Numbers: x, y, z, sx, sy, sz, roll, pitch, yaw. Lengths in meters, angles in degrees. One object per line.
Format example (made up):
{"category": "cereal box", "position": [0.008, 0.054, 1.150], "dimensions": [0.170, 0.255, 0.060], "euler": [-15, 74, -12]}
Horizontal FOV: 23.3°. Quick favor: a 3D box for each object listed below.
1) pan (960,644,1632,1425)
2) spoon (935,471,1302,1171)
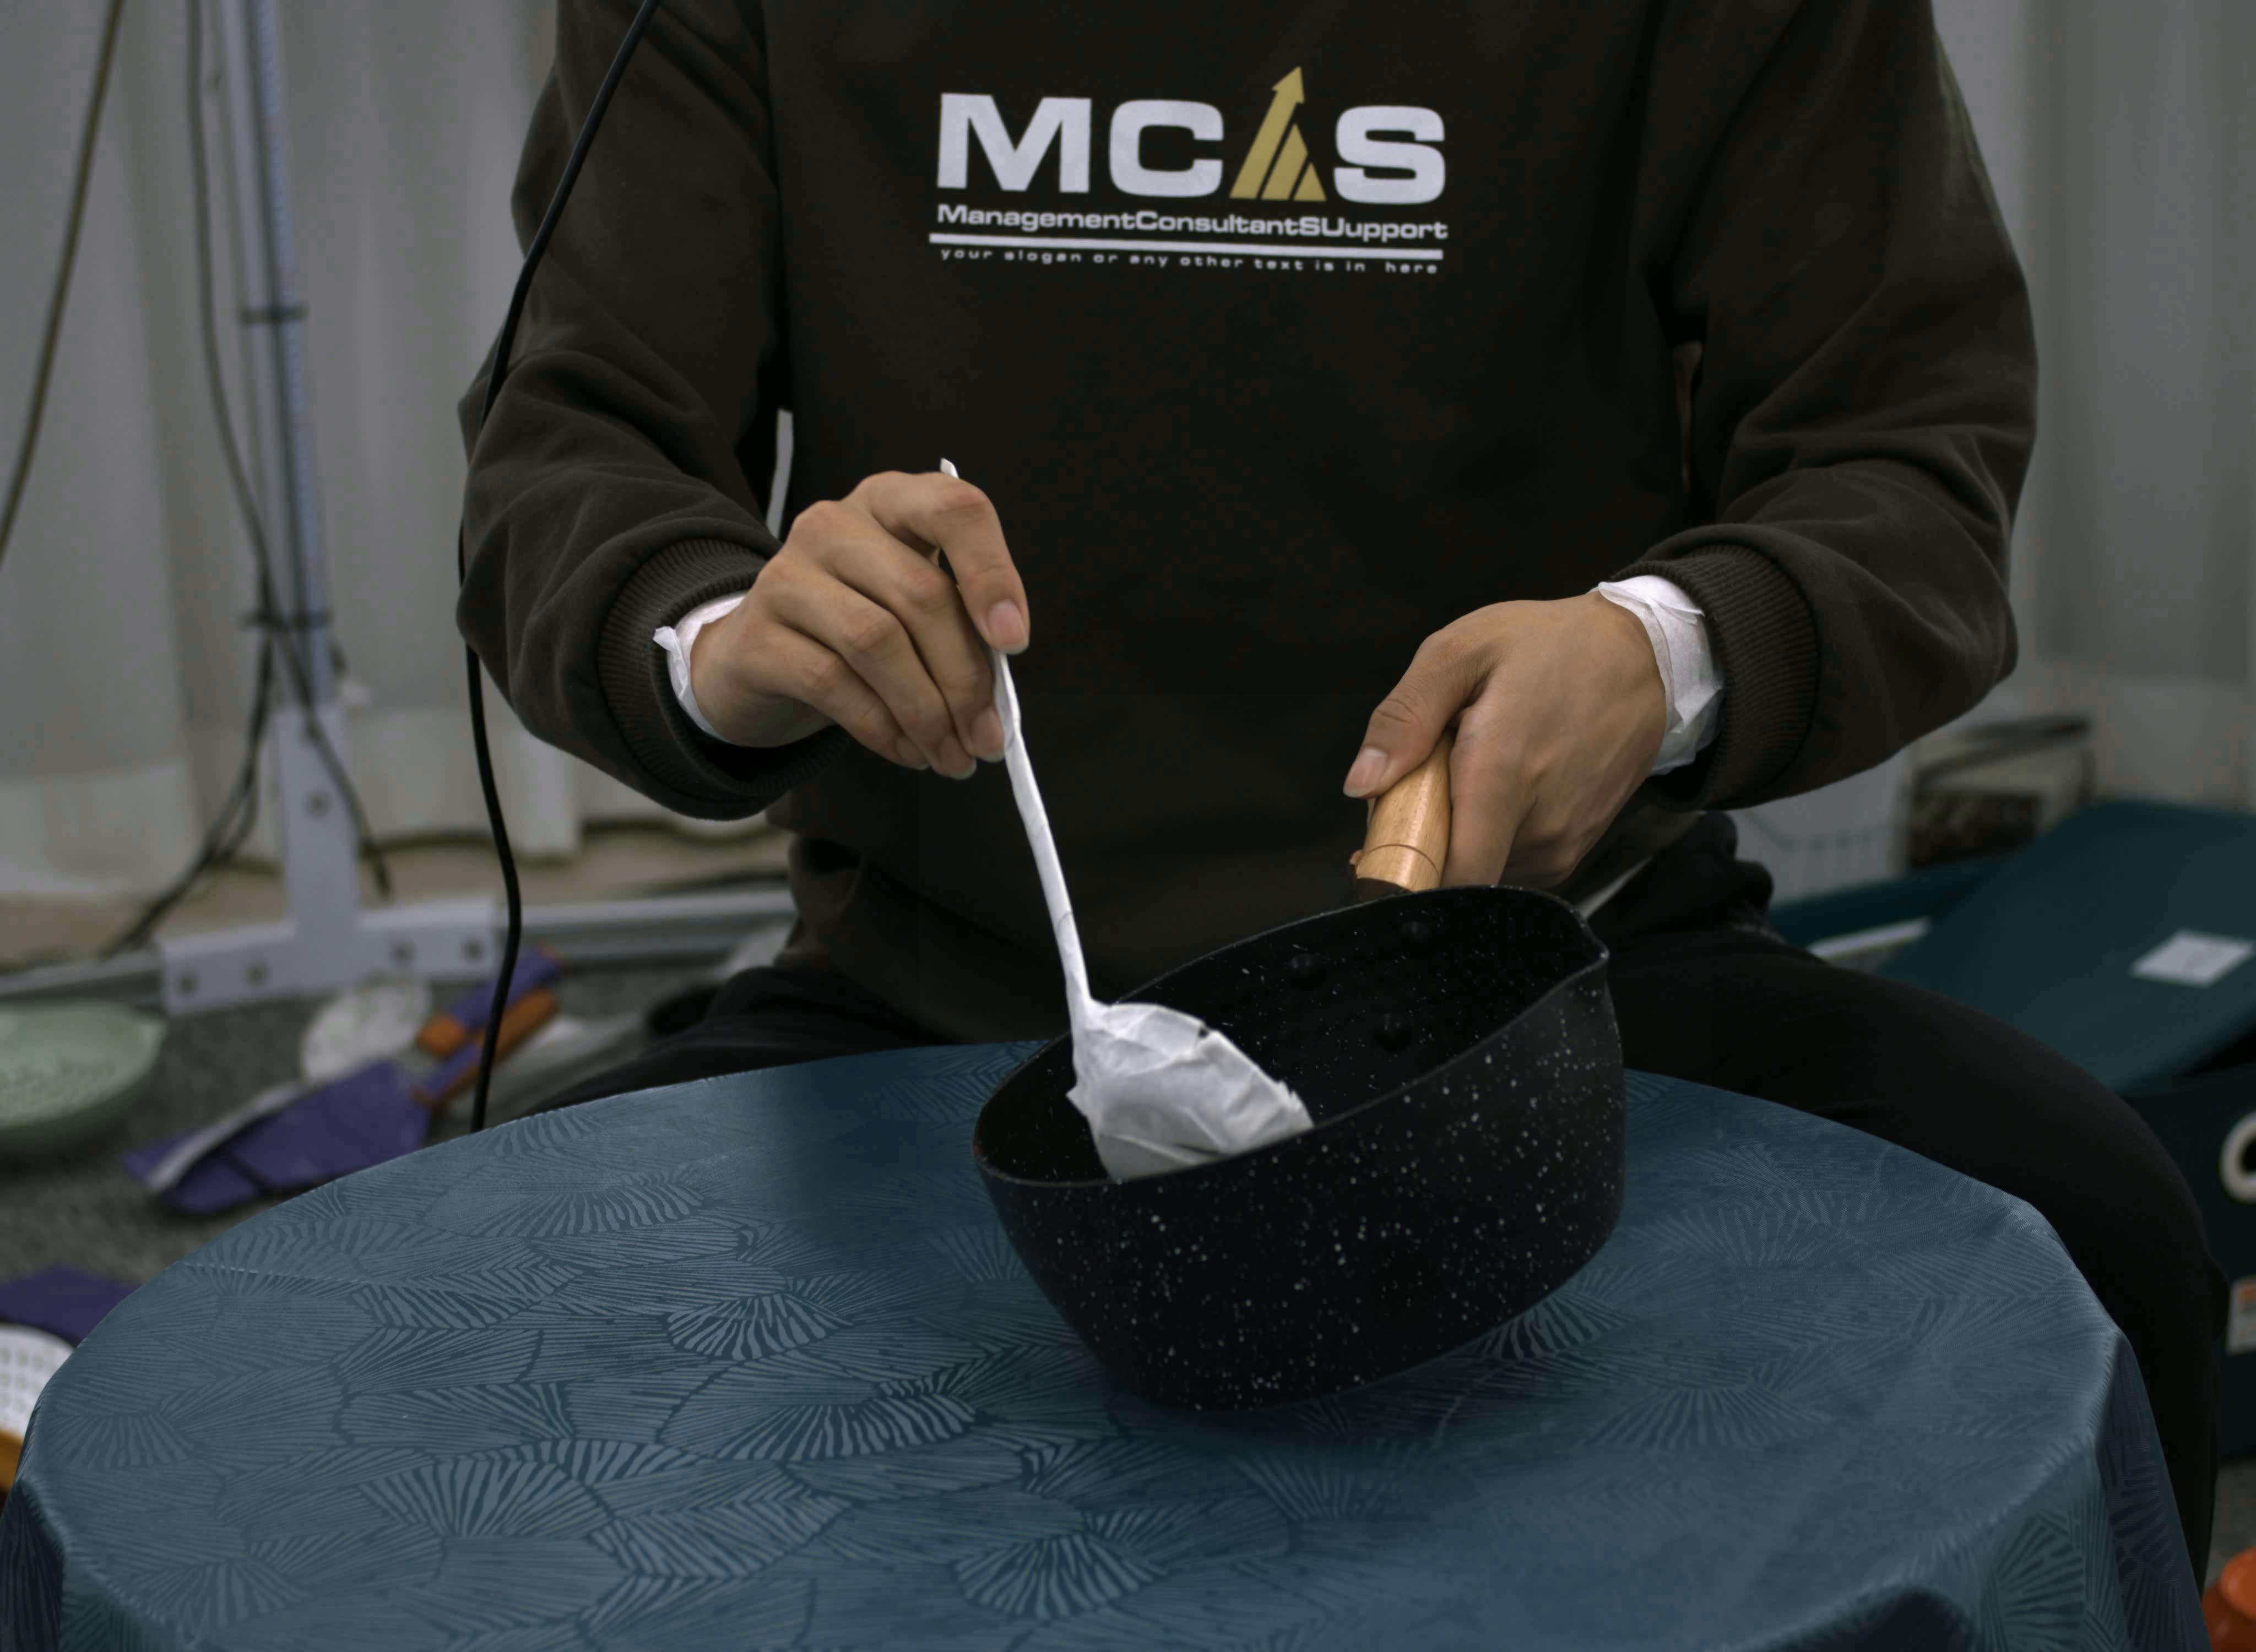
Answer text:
{"category": "pan", "position": [0.071, 0.055, 1.615], "dimensions": [0.207, 0.107, 0.345], "euler": [-17, 17, 21]}
{"category": "spoon", "position": [-0.002, 0.008, 1.574], "dimensions": [0.059, 0.099, 0.282], "euler": [-2, 53, -17]}
